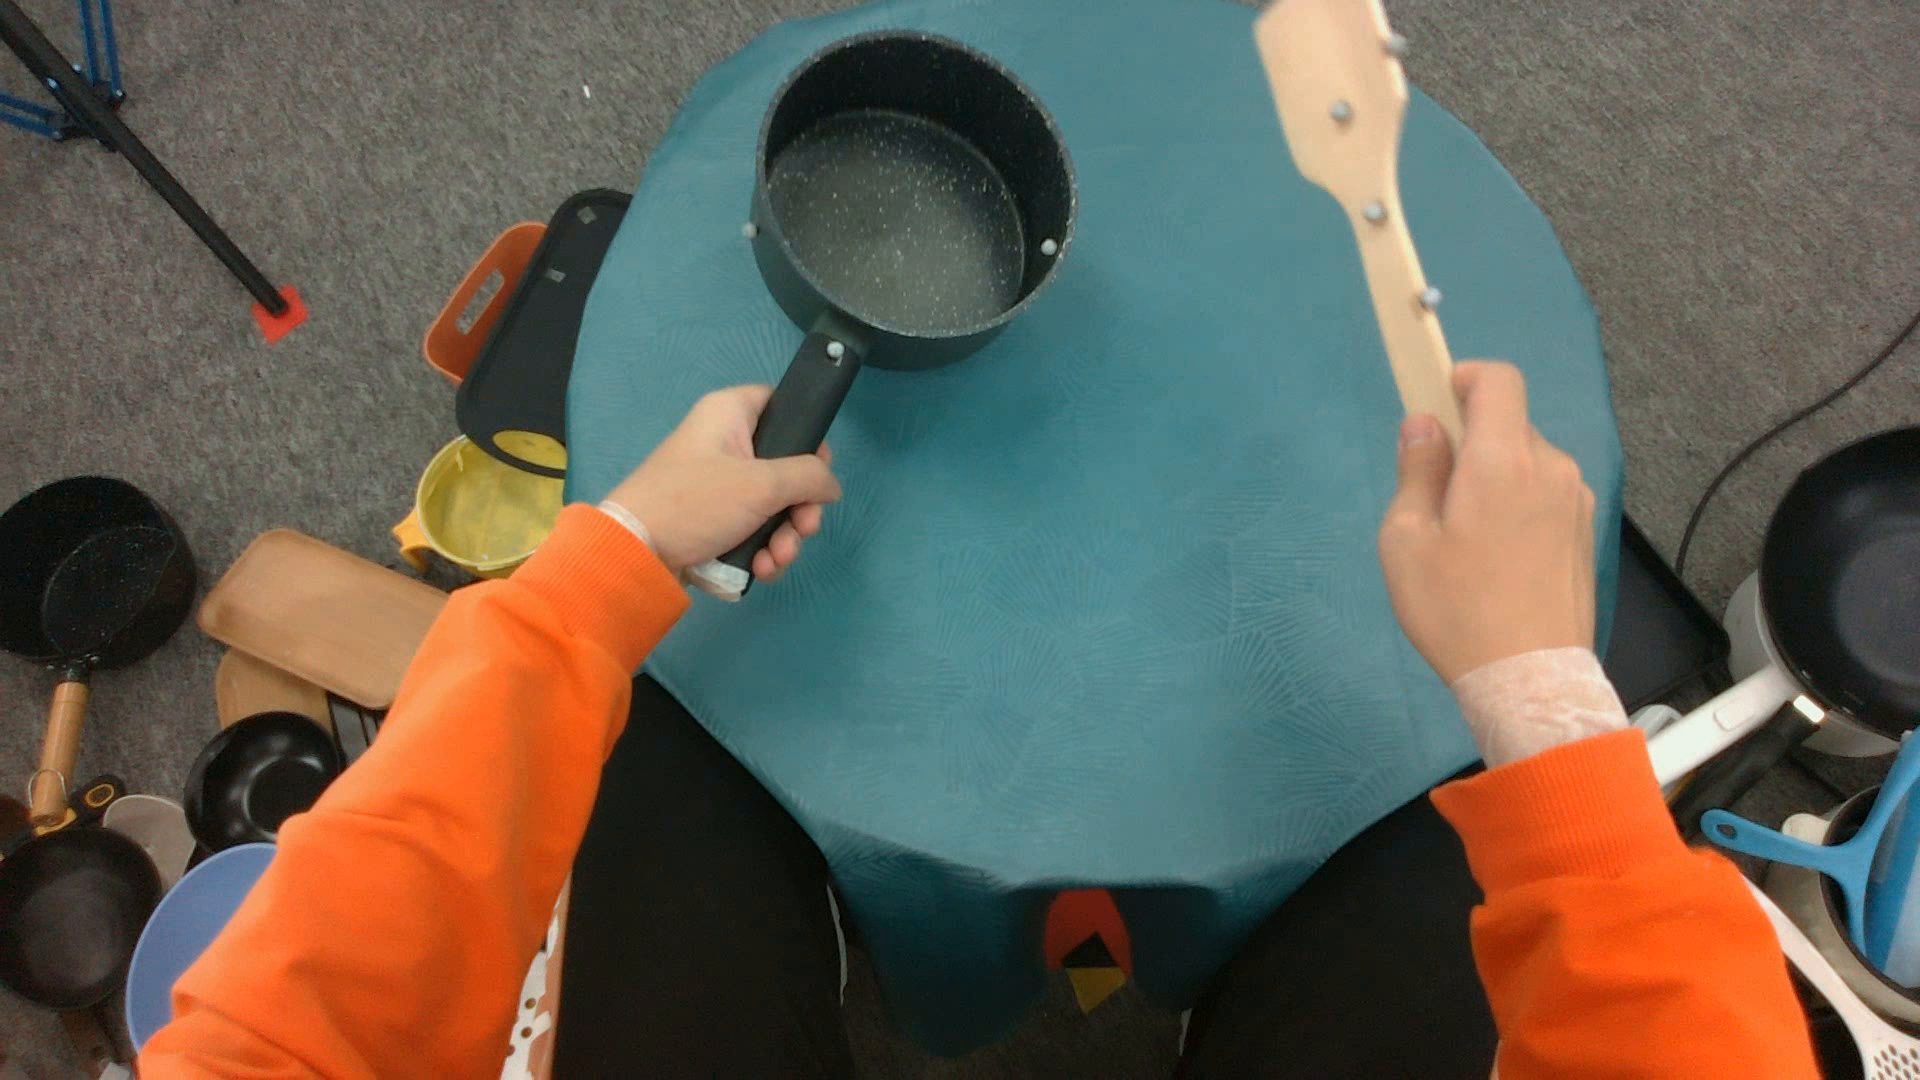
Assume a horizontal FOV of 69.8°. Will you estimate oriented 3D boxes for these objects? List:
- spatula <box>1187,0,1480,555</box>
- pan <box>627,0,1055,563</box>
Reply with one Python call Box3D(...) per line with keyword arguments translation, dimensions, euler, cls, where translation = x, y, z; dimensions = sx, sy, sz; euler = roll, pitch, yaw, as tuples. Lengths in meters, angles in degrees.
Box3D(translation=(0.165, -0.133, 0.597), dimensions=(0.011, 0.072, 0.293), euler=(-12, 77, -27), cls="spatula")
Box3D(translation=(-0.075, -0.126, 0.712), dimensions=(0.172, 0.086, 0.330), euler=(30, 70, -8), cls="pan")
